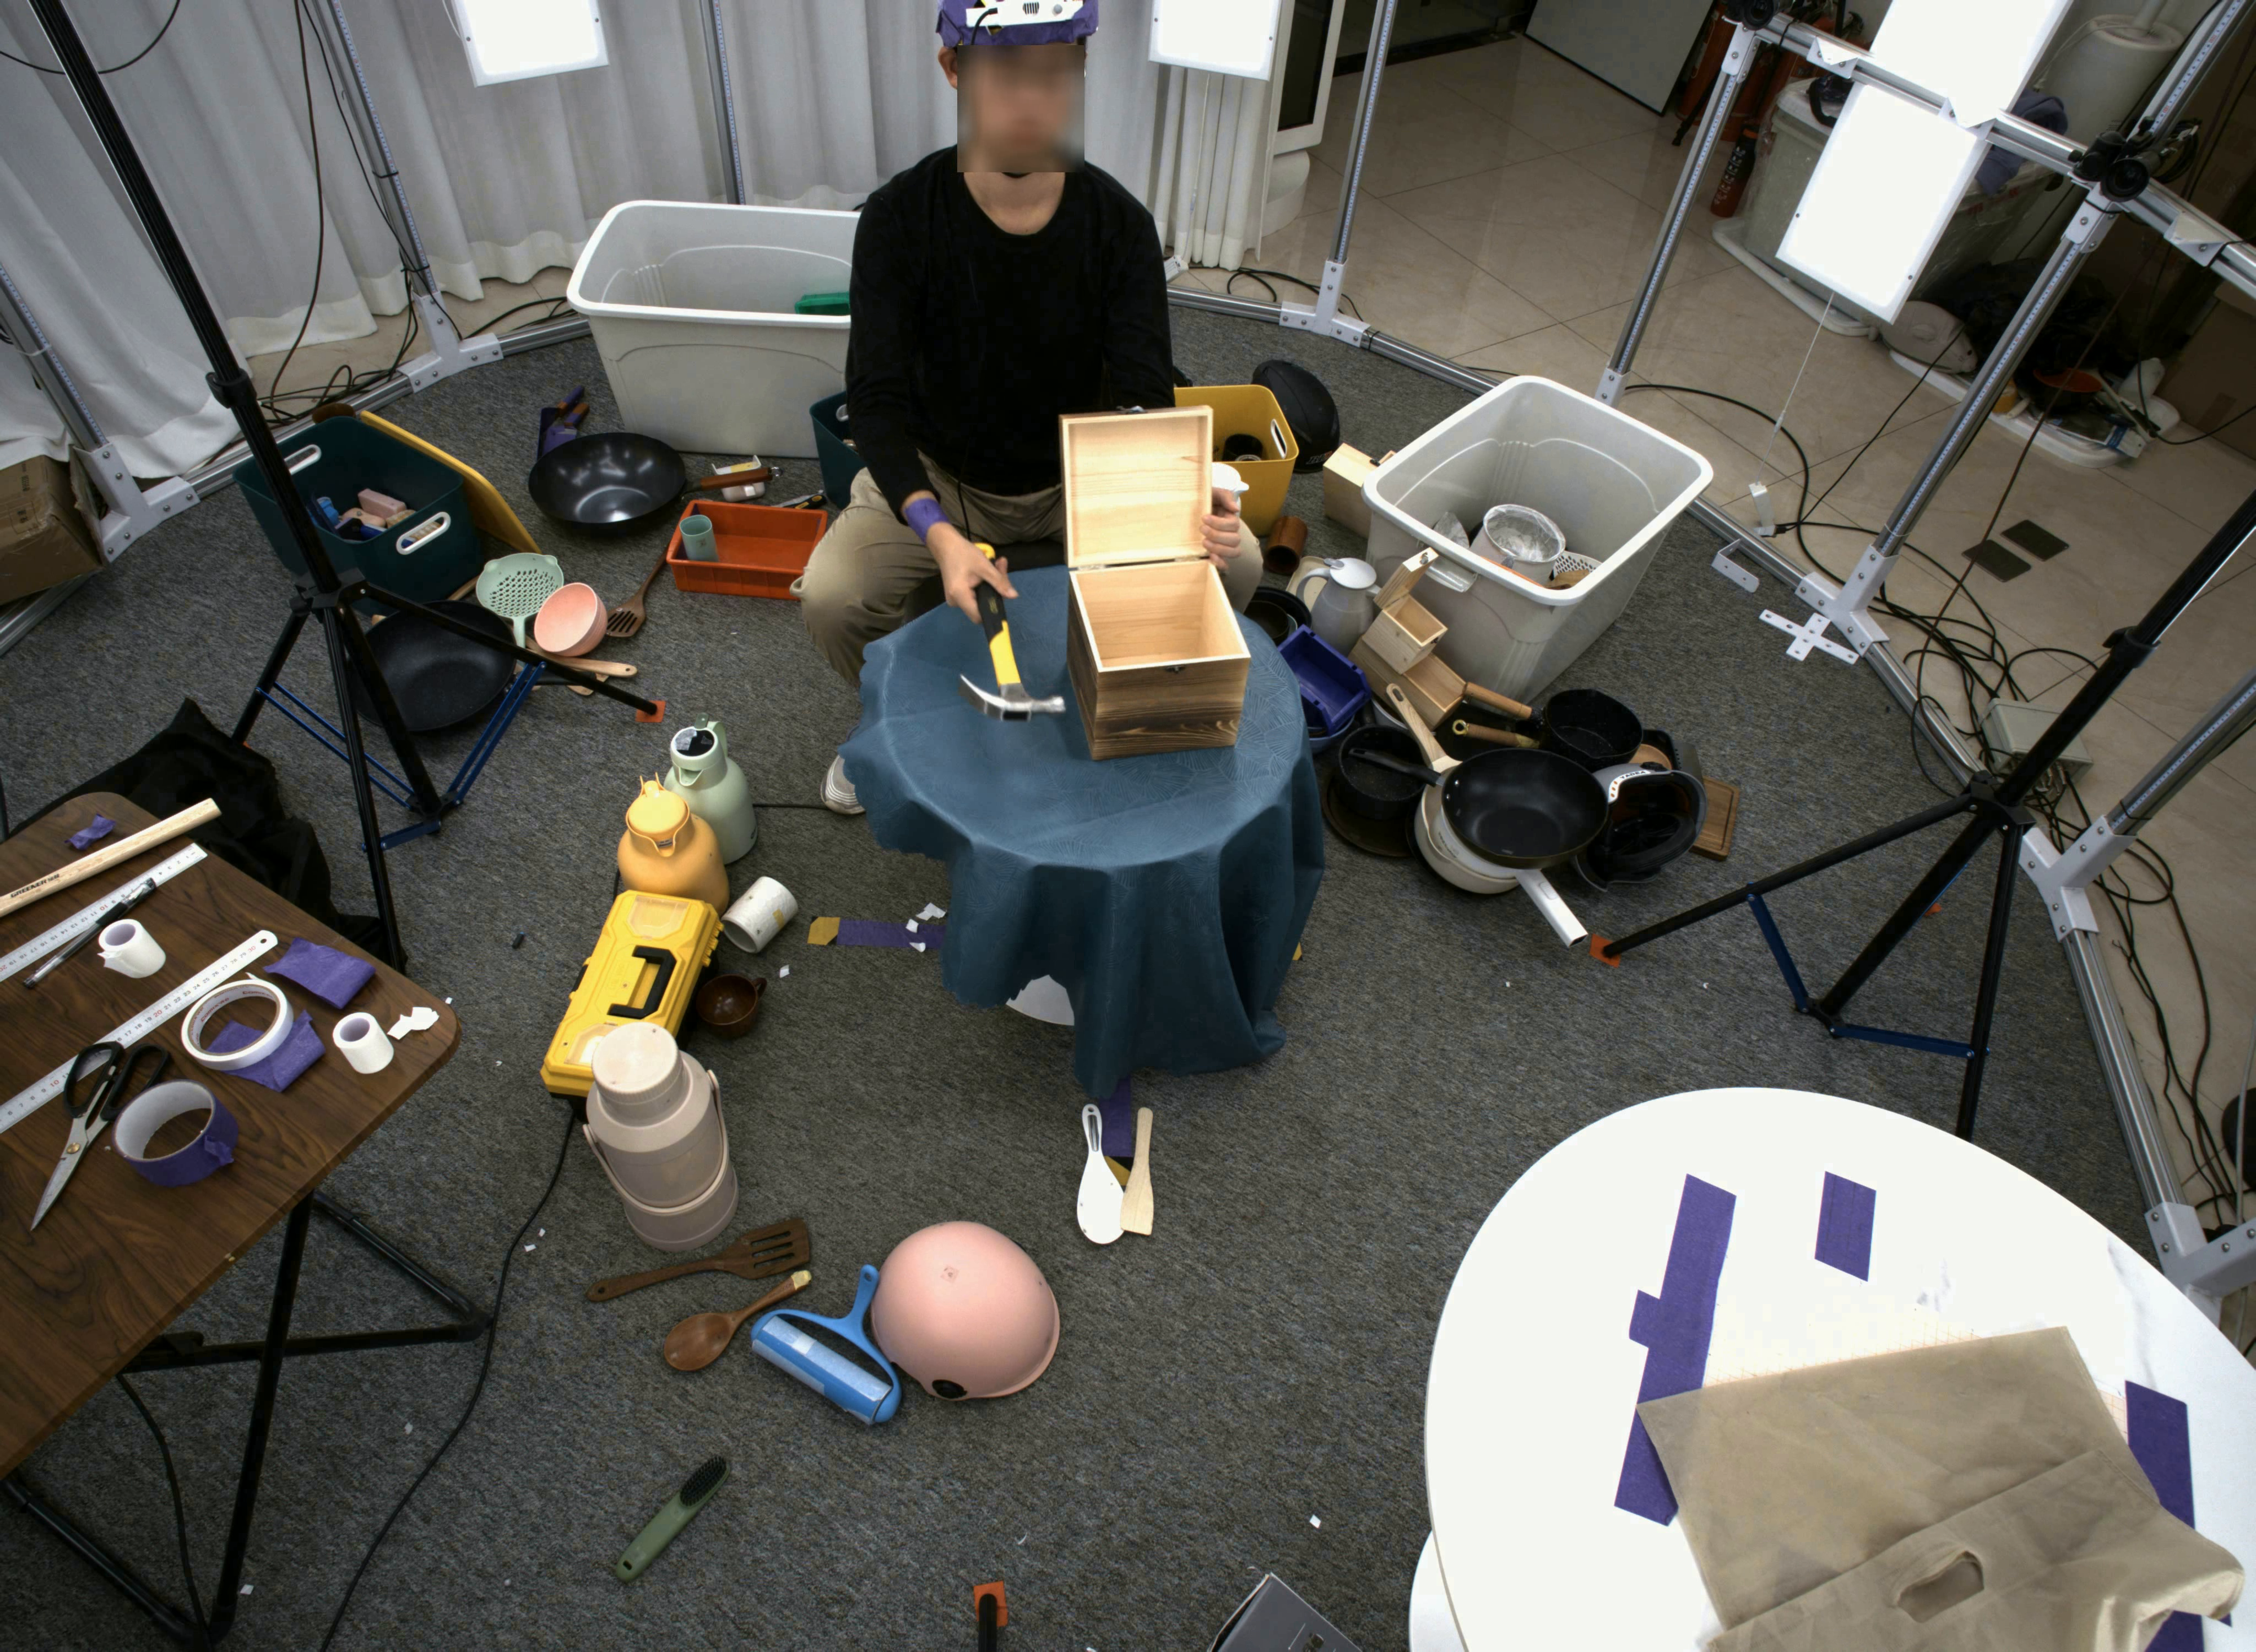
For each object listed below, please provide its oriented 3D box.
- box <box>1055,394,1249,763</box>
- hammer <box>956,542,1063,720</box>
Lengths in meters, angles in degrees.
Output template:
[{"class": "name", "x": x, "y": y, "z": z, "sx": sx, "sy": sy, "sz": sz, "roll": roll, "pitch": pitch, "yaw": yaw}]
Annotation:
[{"class": "box", "x": 0.028, "y": -0.328, "z": 1.725, "sx": 0.208, "sy": 0.366, "sz": 0.330, "roll": -7, "pitch": 49, "yaw": -9}, {"class": "hammer", "x": -0.178, "y": -0.271, "z": 1.735, "sx": 0.131, "sy": 0.031, "sz": 0.347, "roll": -1, "pitch": 48, "yaw": -15}]
